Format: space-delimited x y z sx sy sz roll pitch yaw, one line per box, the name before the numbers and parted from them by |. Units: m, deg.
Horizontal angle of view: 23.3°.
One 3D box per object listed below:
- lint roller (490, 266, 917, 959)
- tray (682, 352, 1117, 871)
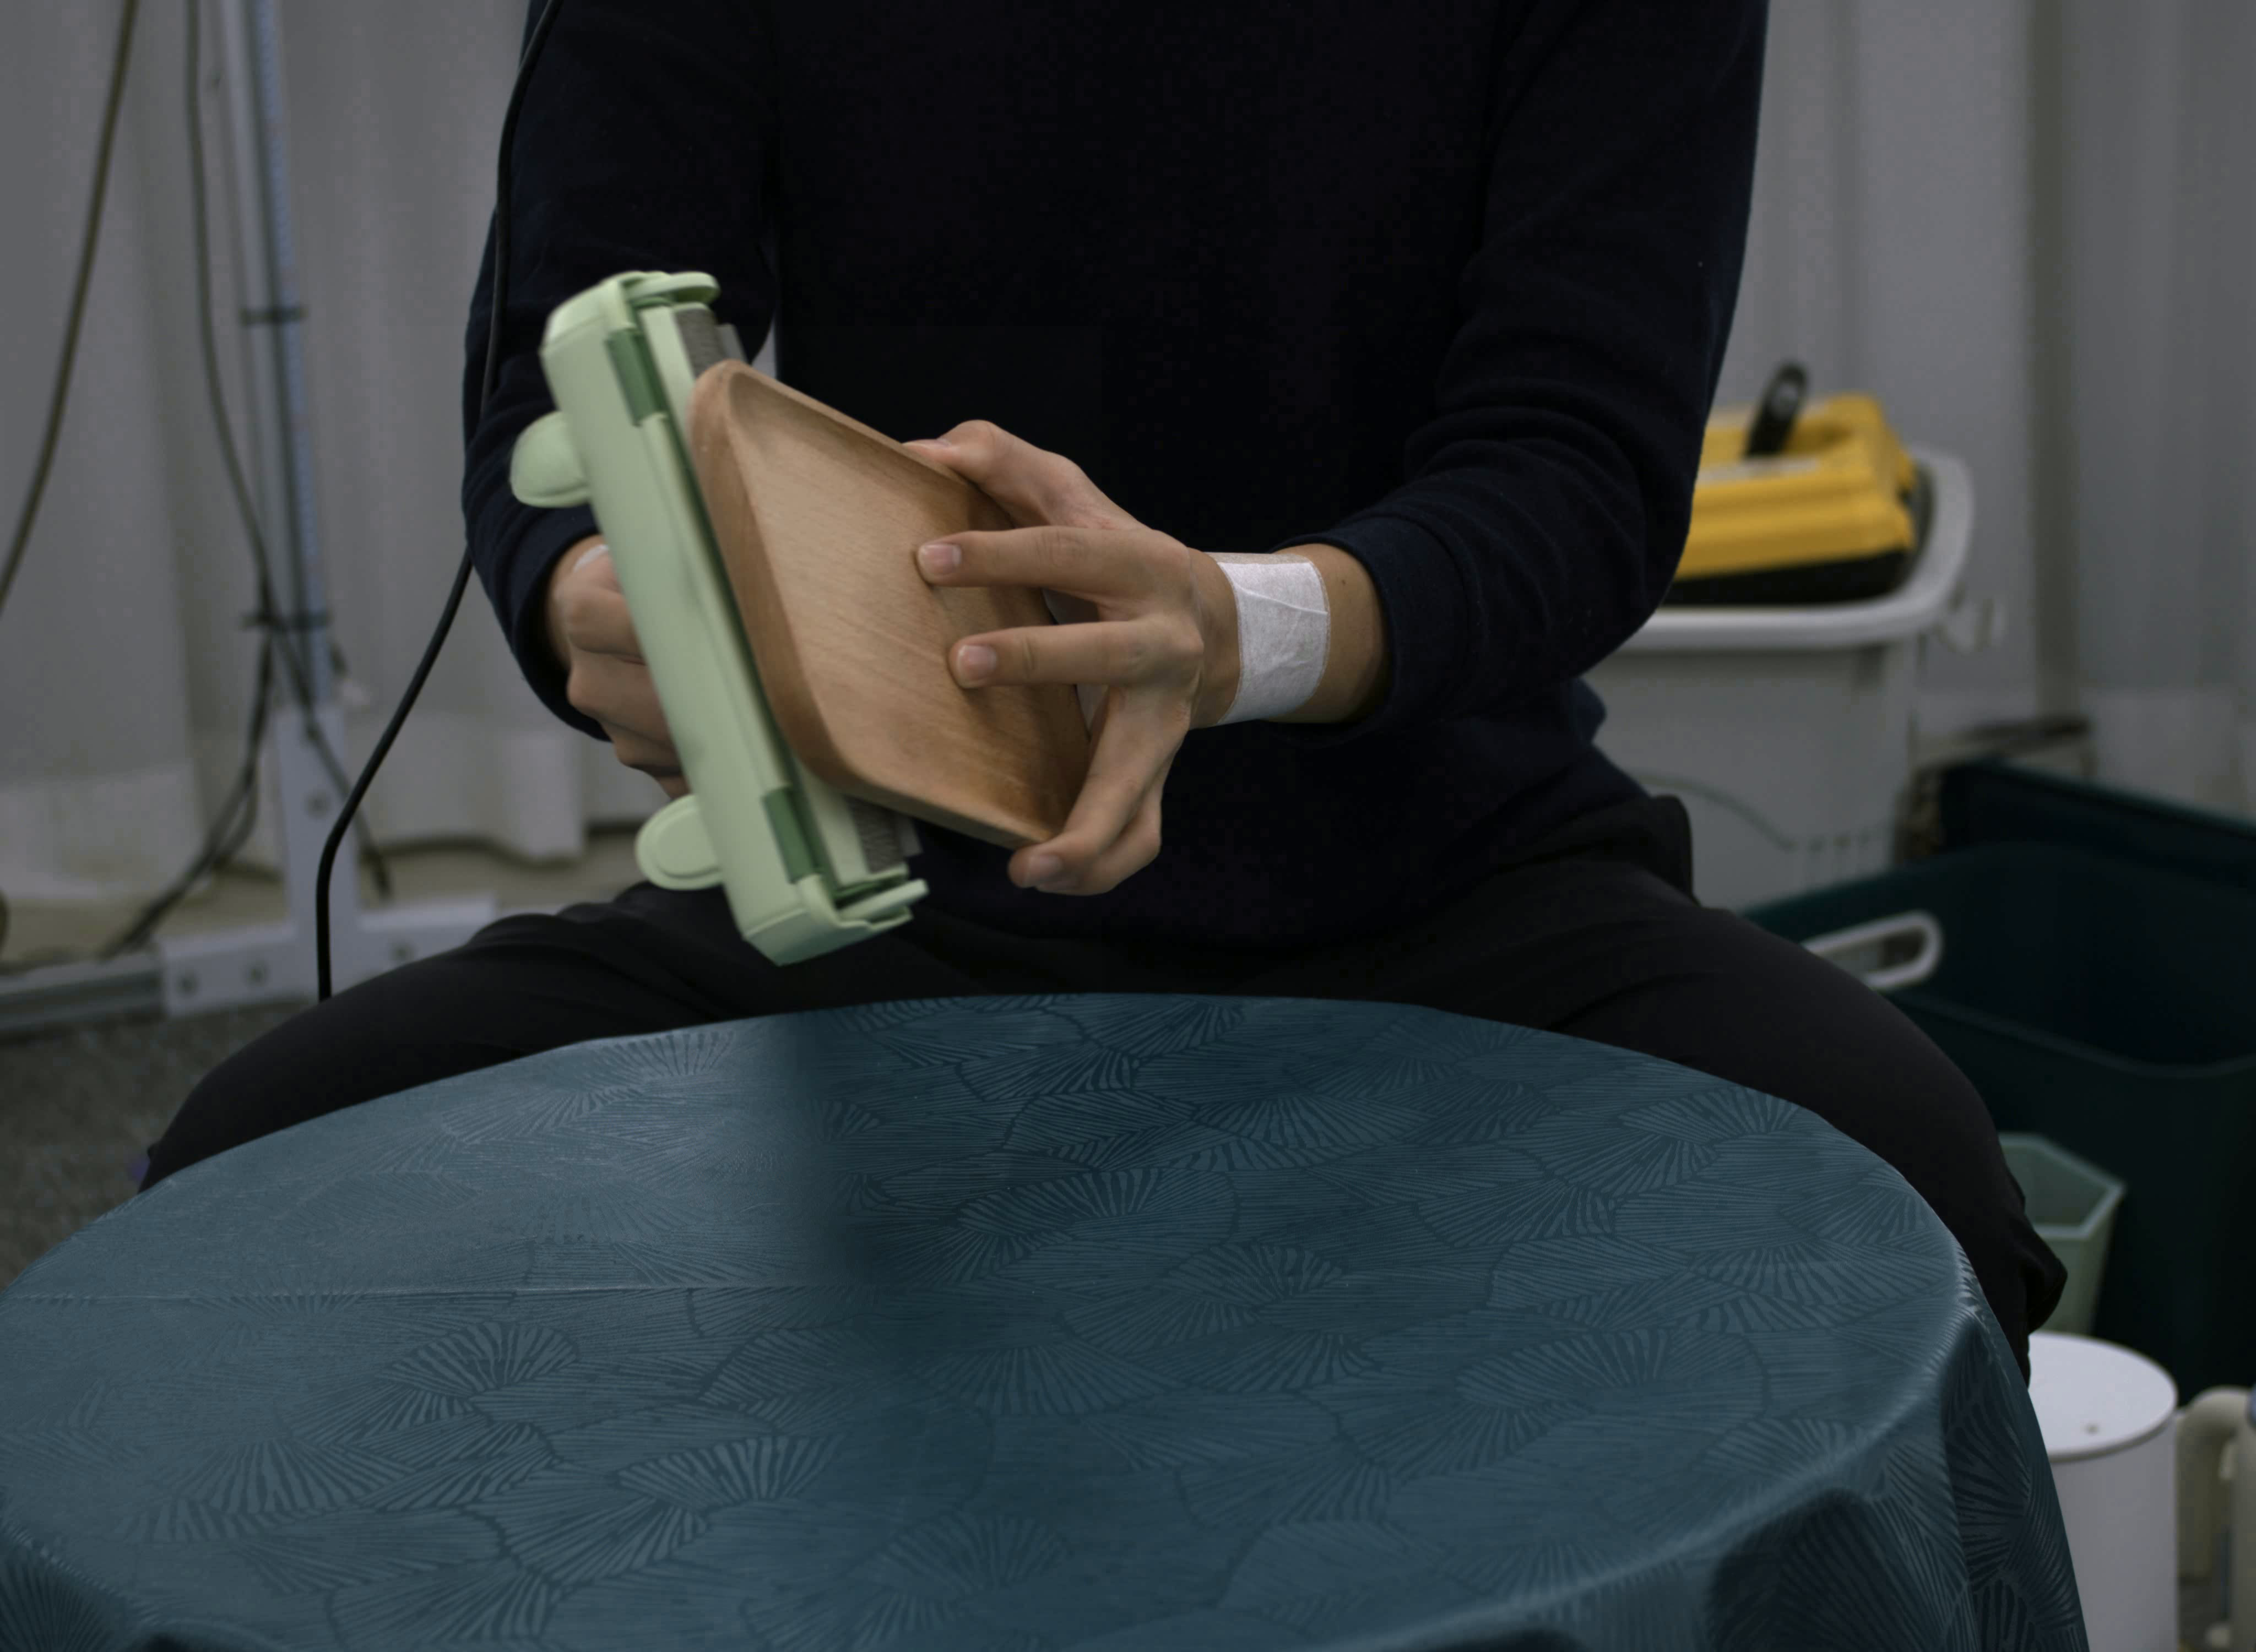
lint roller | -0.132 -0.049 1.596 0.082 0.200 0.182 -18 -7 -15
tray | -0.063 -0.057 1.585 0.023 0.132 0.249 -19 -14 15
